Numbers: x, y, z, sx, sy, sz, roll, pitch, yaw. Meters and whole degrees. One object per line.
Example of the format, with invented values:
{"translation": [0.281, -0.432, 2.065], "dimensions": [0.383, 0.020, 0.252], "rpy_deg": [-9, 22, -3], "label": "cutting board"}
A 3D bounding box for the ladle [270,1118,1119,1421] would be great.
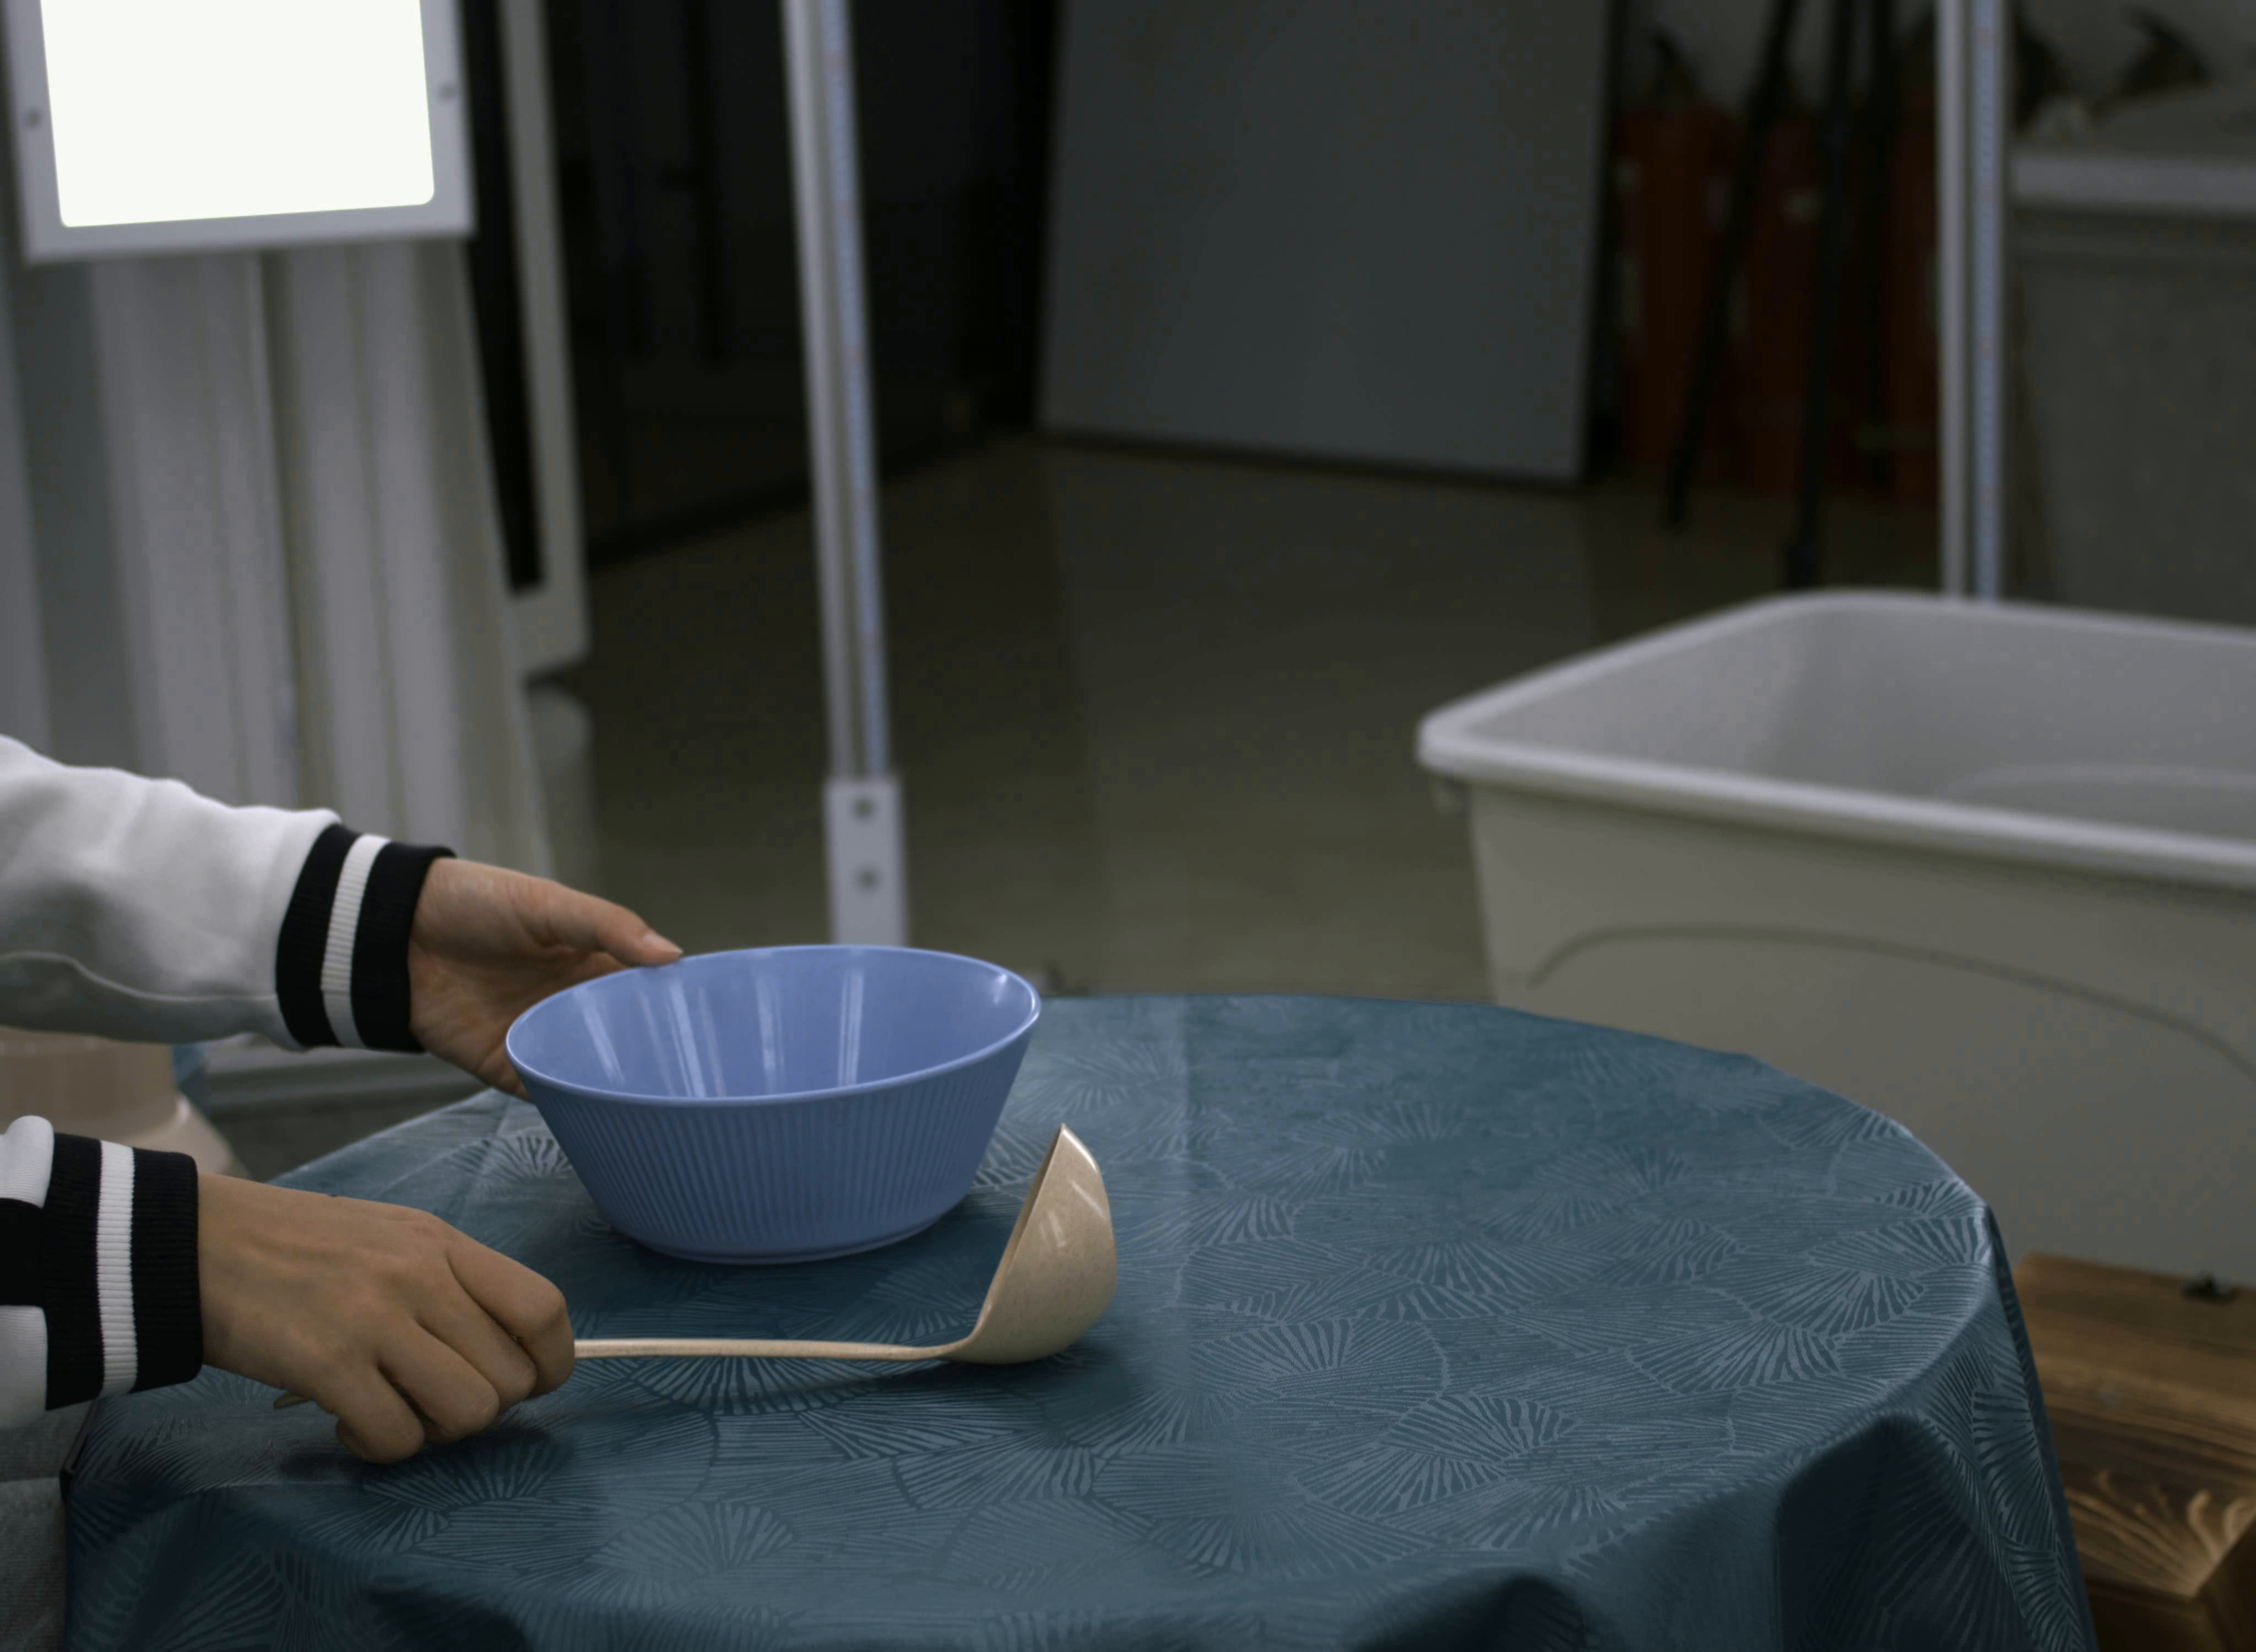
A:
{"translation": [-0.128, 0.130, 1.600], "dimensions": [0.250, 0.074, 0.072], "rpy_deg": [-3, -6, -6], "label": "ladle"}

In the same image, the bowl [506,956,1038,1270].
{"translation": [-0.113, 0.095, 1.761], "dimensions": [0.174, 0.071, 0.176], "rpy_deg": [-4, 13, 0], "label": "bowl"}
